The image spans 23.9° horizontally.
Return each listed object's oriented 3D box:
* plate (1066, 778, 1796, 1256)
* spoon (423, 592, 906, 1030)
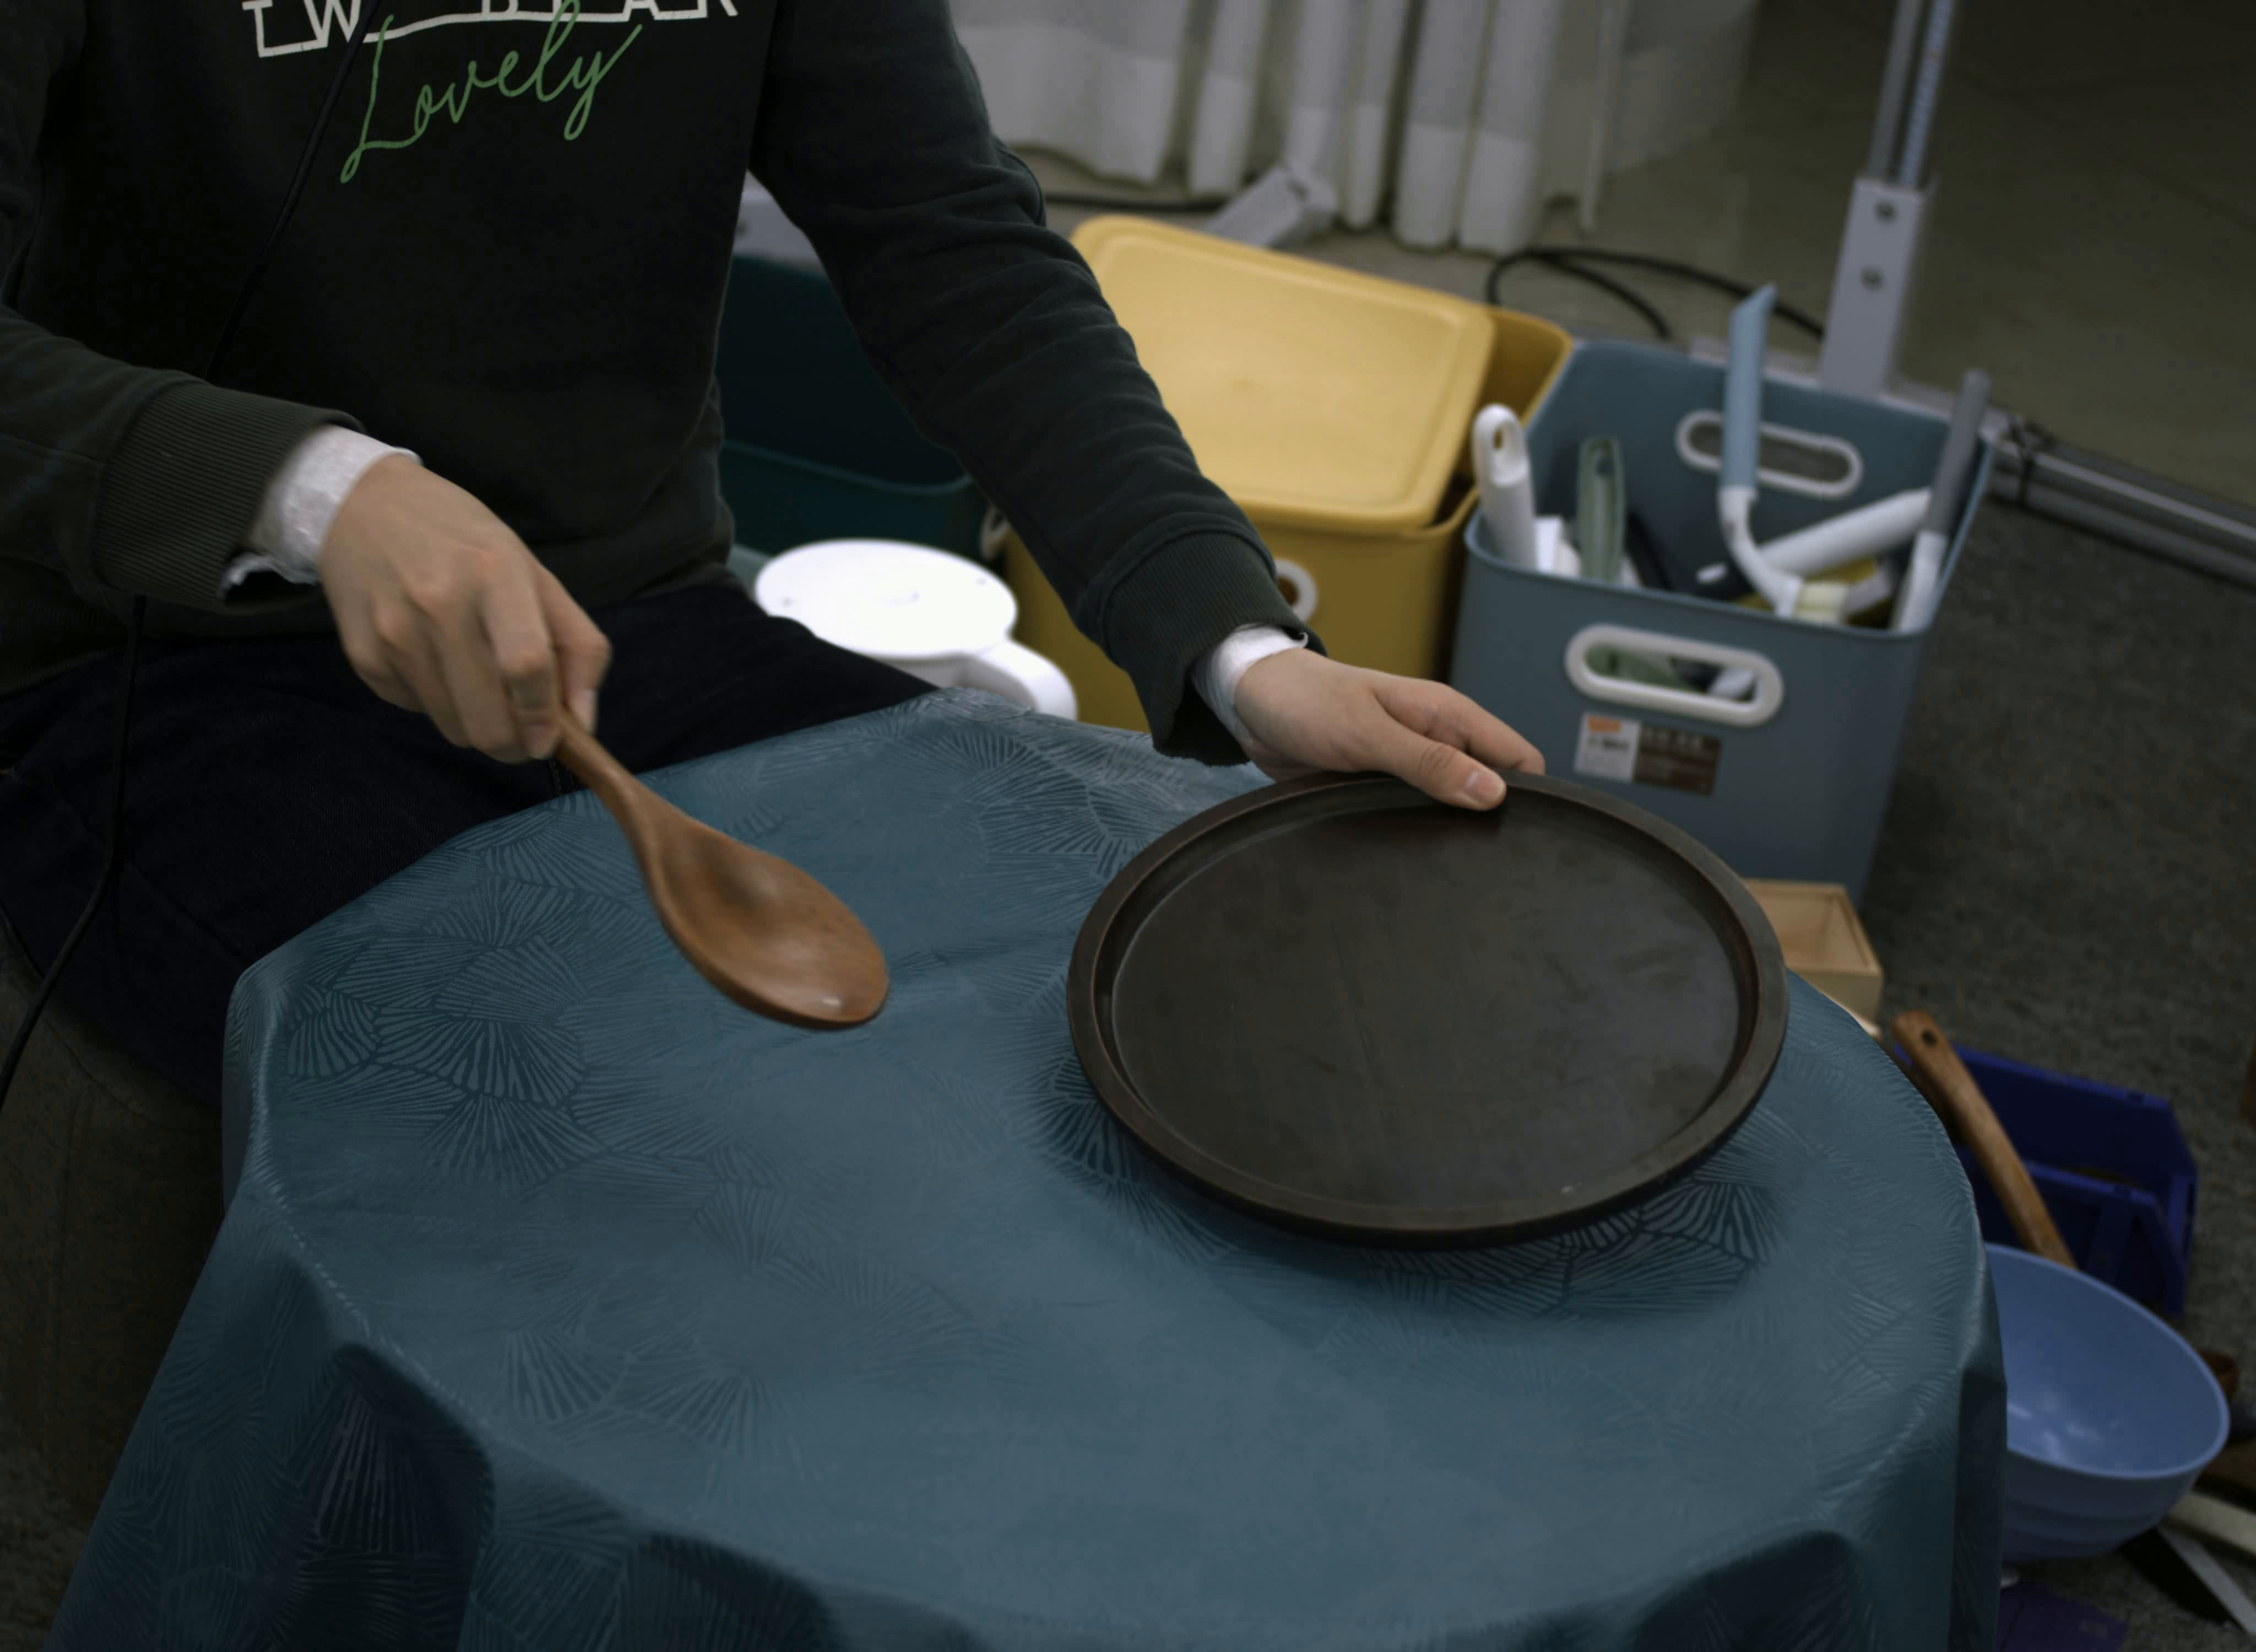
[{"bbox_3d":[0.105,0.064,1.855,0.254,0.029,0.257,-1,38,0],"label":"plate"},{"bbox_3d":[-0.154,-0.004,1.718,0.217,0.017,0.075,43,34,22],"label":"spoon"}]
